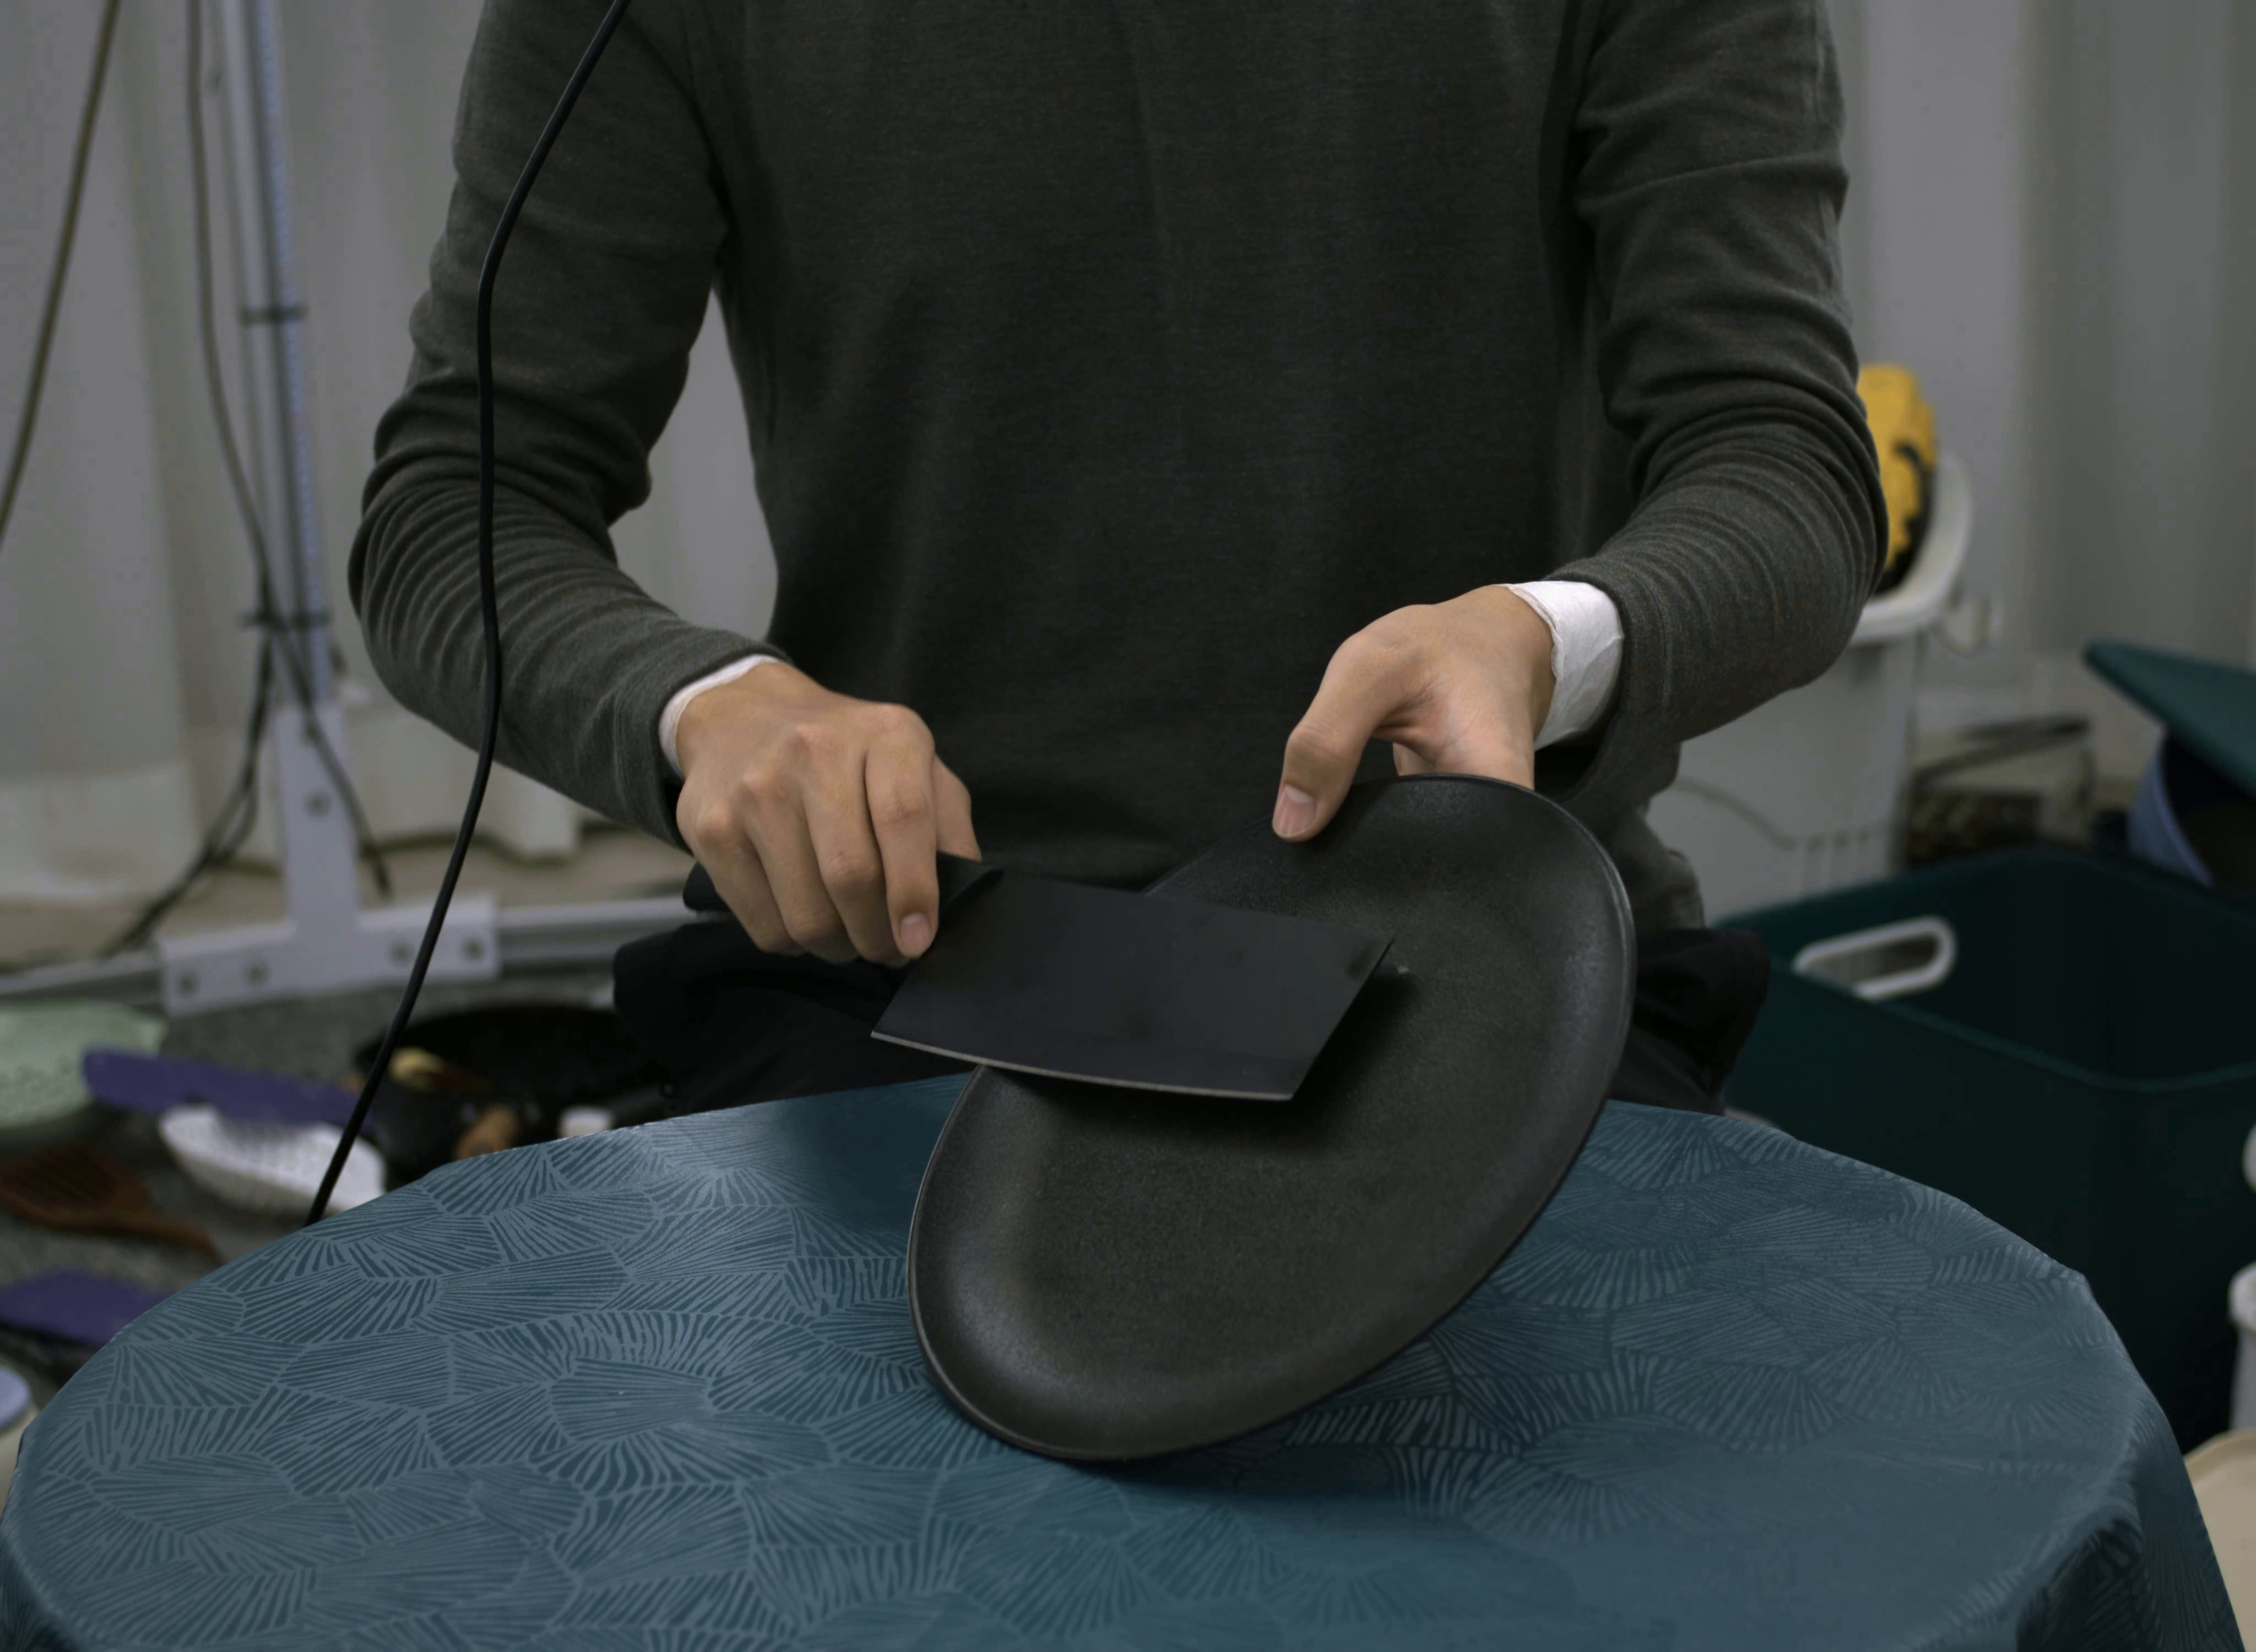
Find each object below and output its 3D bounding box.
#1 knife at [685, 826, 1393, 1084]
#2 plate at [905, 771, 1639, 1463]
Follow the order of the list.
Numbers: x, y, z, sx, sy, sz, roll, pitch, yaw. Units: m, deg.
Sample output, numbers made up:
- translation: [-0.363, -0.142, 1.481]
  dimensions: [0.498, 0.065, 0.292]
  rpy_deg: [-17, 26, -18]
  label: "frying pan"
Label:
- translation: [-0.038, 0.036, 1.666]
  dimensions: [0.304, 0.020, 0.081]
  rpy_deg: [13, 59, 49]
  label: "knife"
- translation: [0.042, 0.085, 1.551]
  dimensions: [0.243, 0.023, 0.248]
  rpy_deg: [-26, 36, 20]
  label: "plate"
